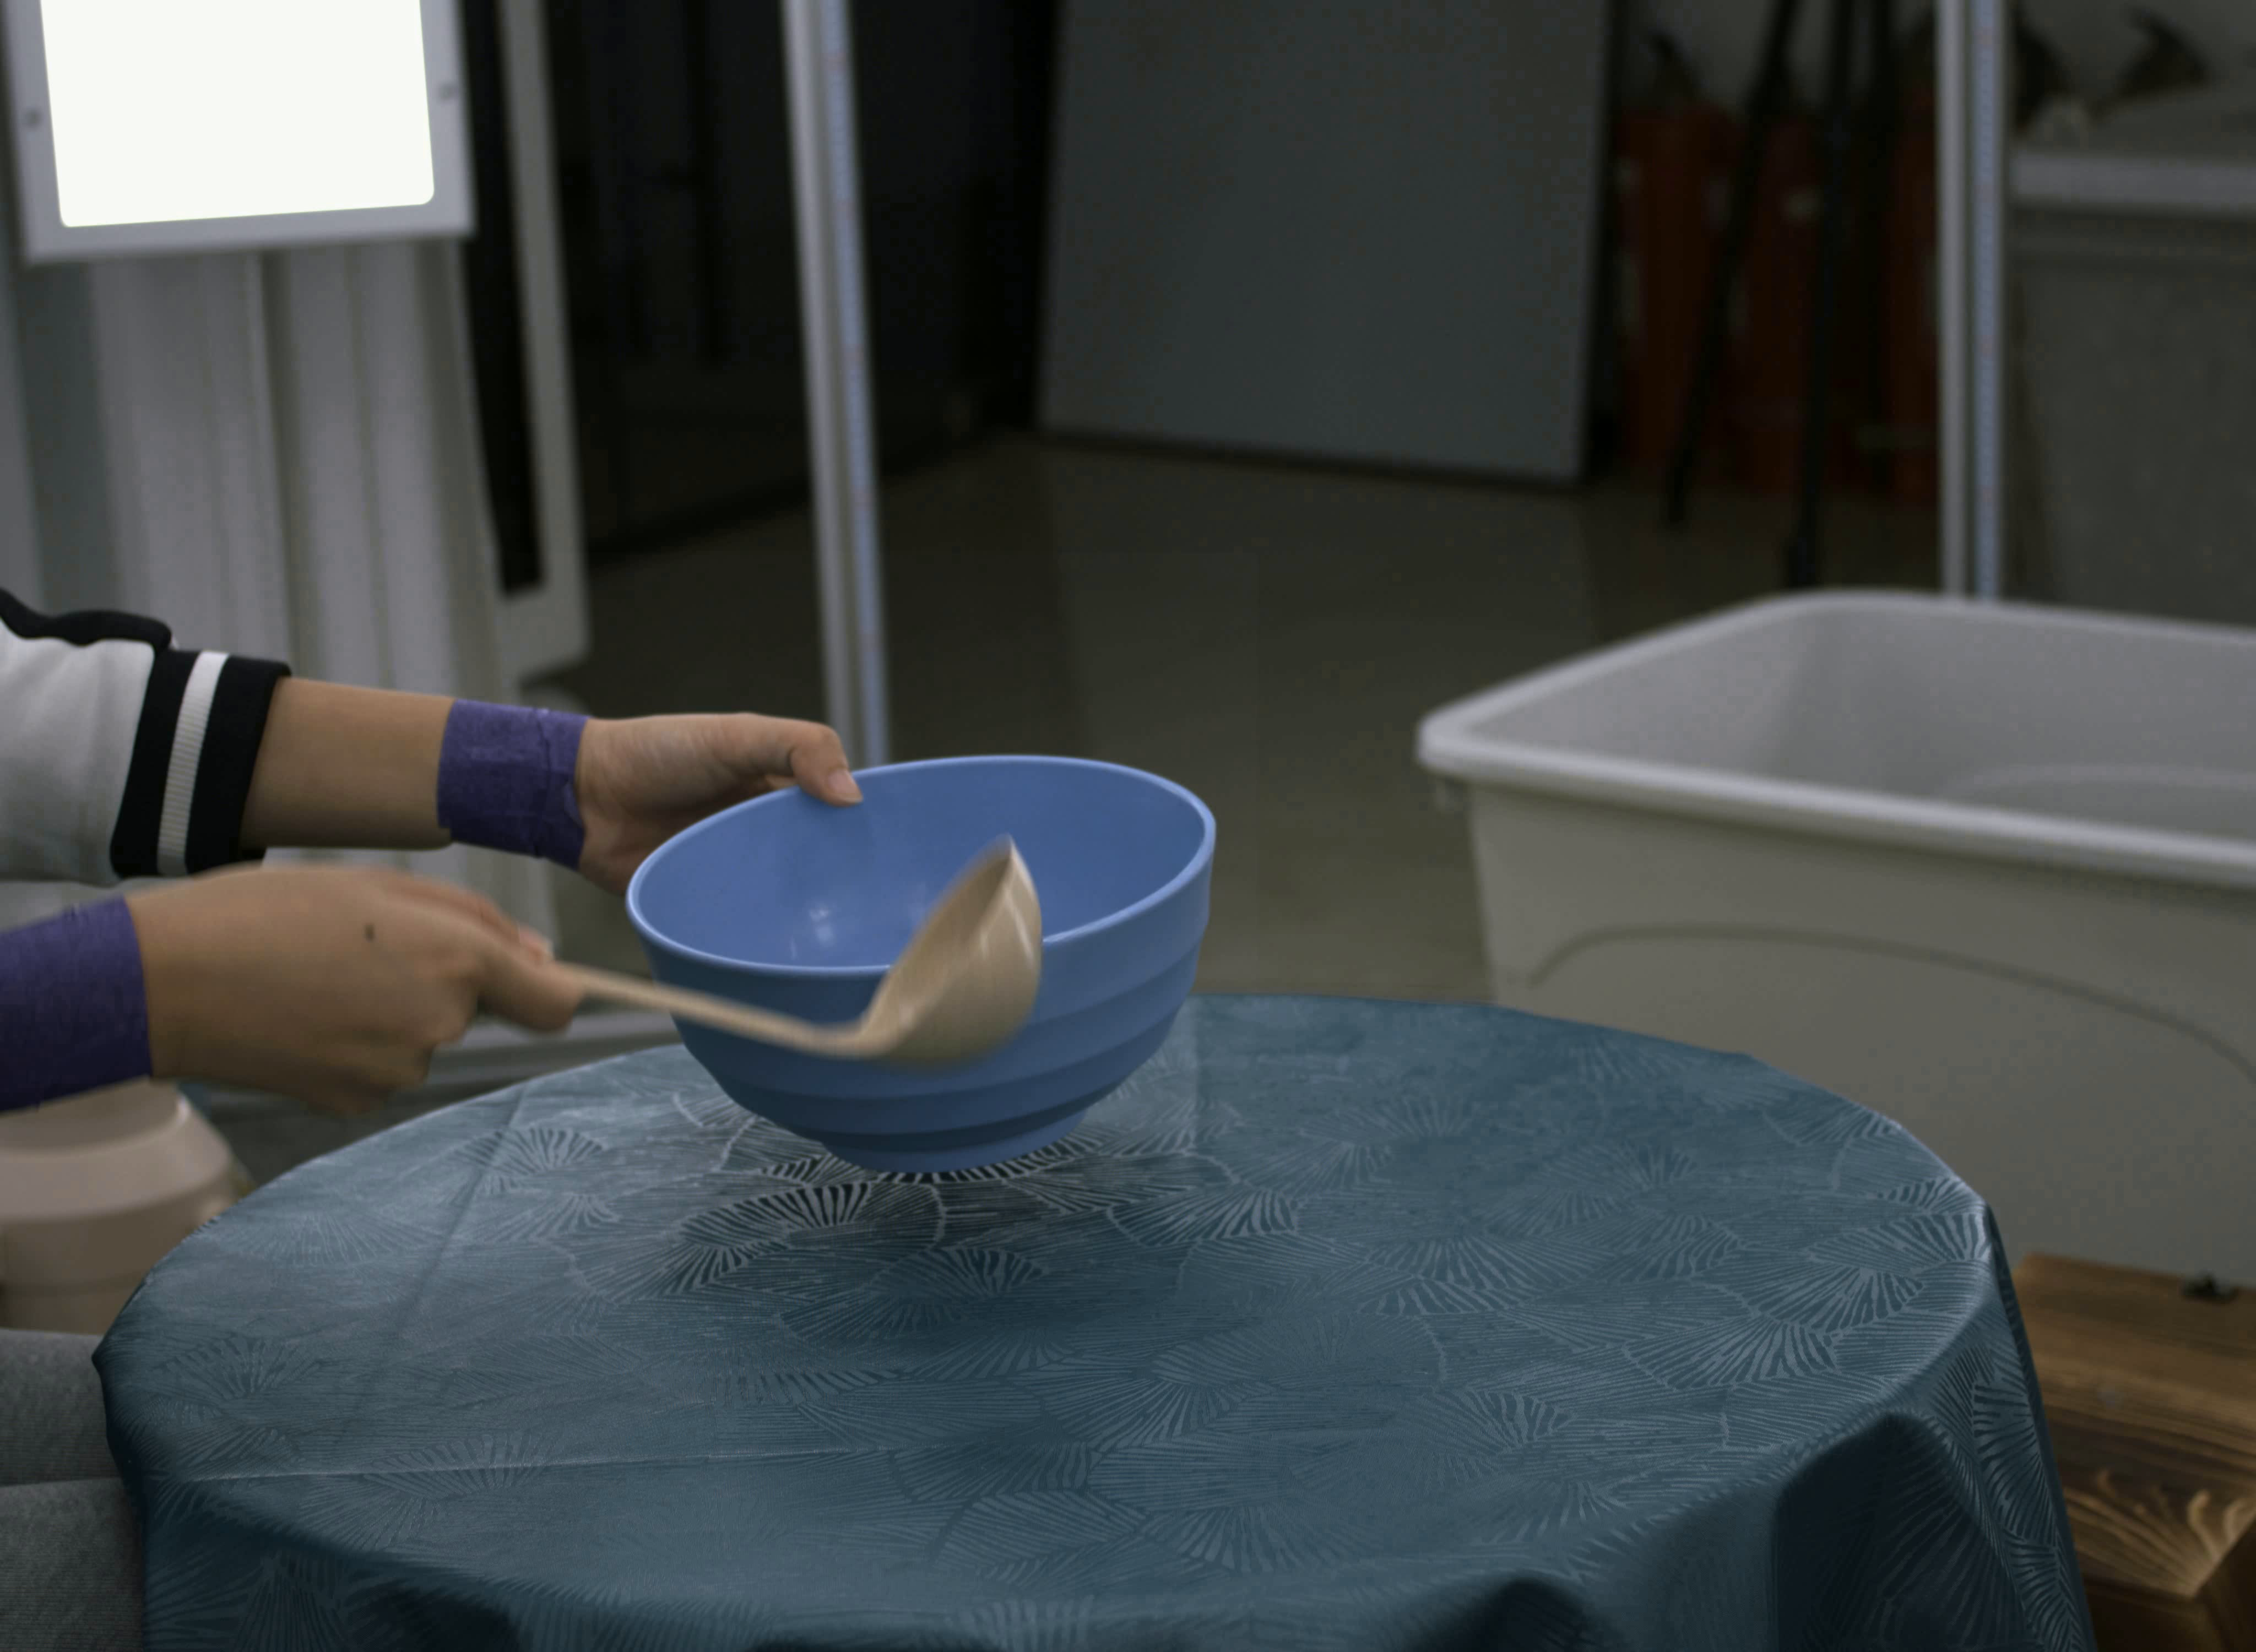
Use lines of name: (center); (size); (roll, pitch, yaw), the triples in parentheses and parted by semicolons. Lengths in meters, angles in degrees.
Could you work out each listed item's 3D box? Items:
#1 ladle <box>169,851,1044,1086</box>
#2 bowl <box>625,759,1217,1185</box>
ladle: (-0.148, 0.024, 1.579); (0.249, 0.074, 0.072); (10, 3, -14)
bowl: (-0.063, 0.056, 1.778); (0.194, 0.096, 0.197); (-6, 20, 1)
